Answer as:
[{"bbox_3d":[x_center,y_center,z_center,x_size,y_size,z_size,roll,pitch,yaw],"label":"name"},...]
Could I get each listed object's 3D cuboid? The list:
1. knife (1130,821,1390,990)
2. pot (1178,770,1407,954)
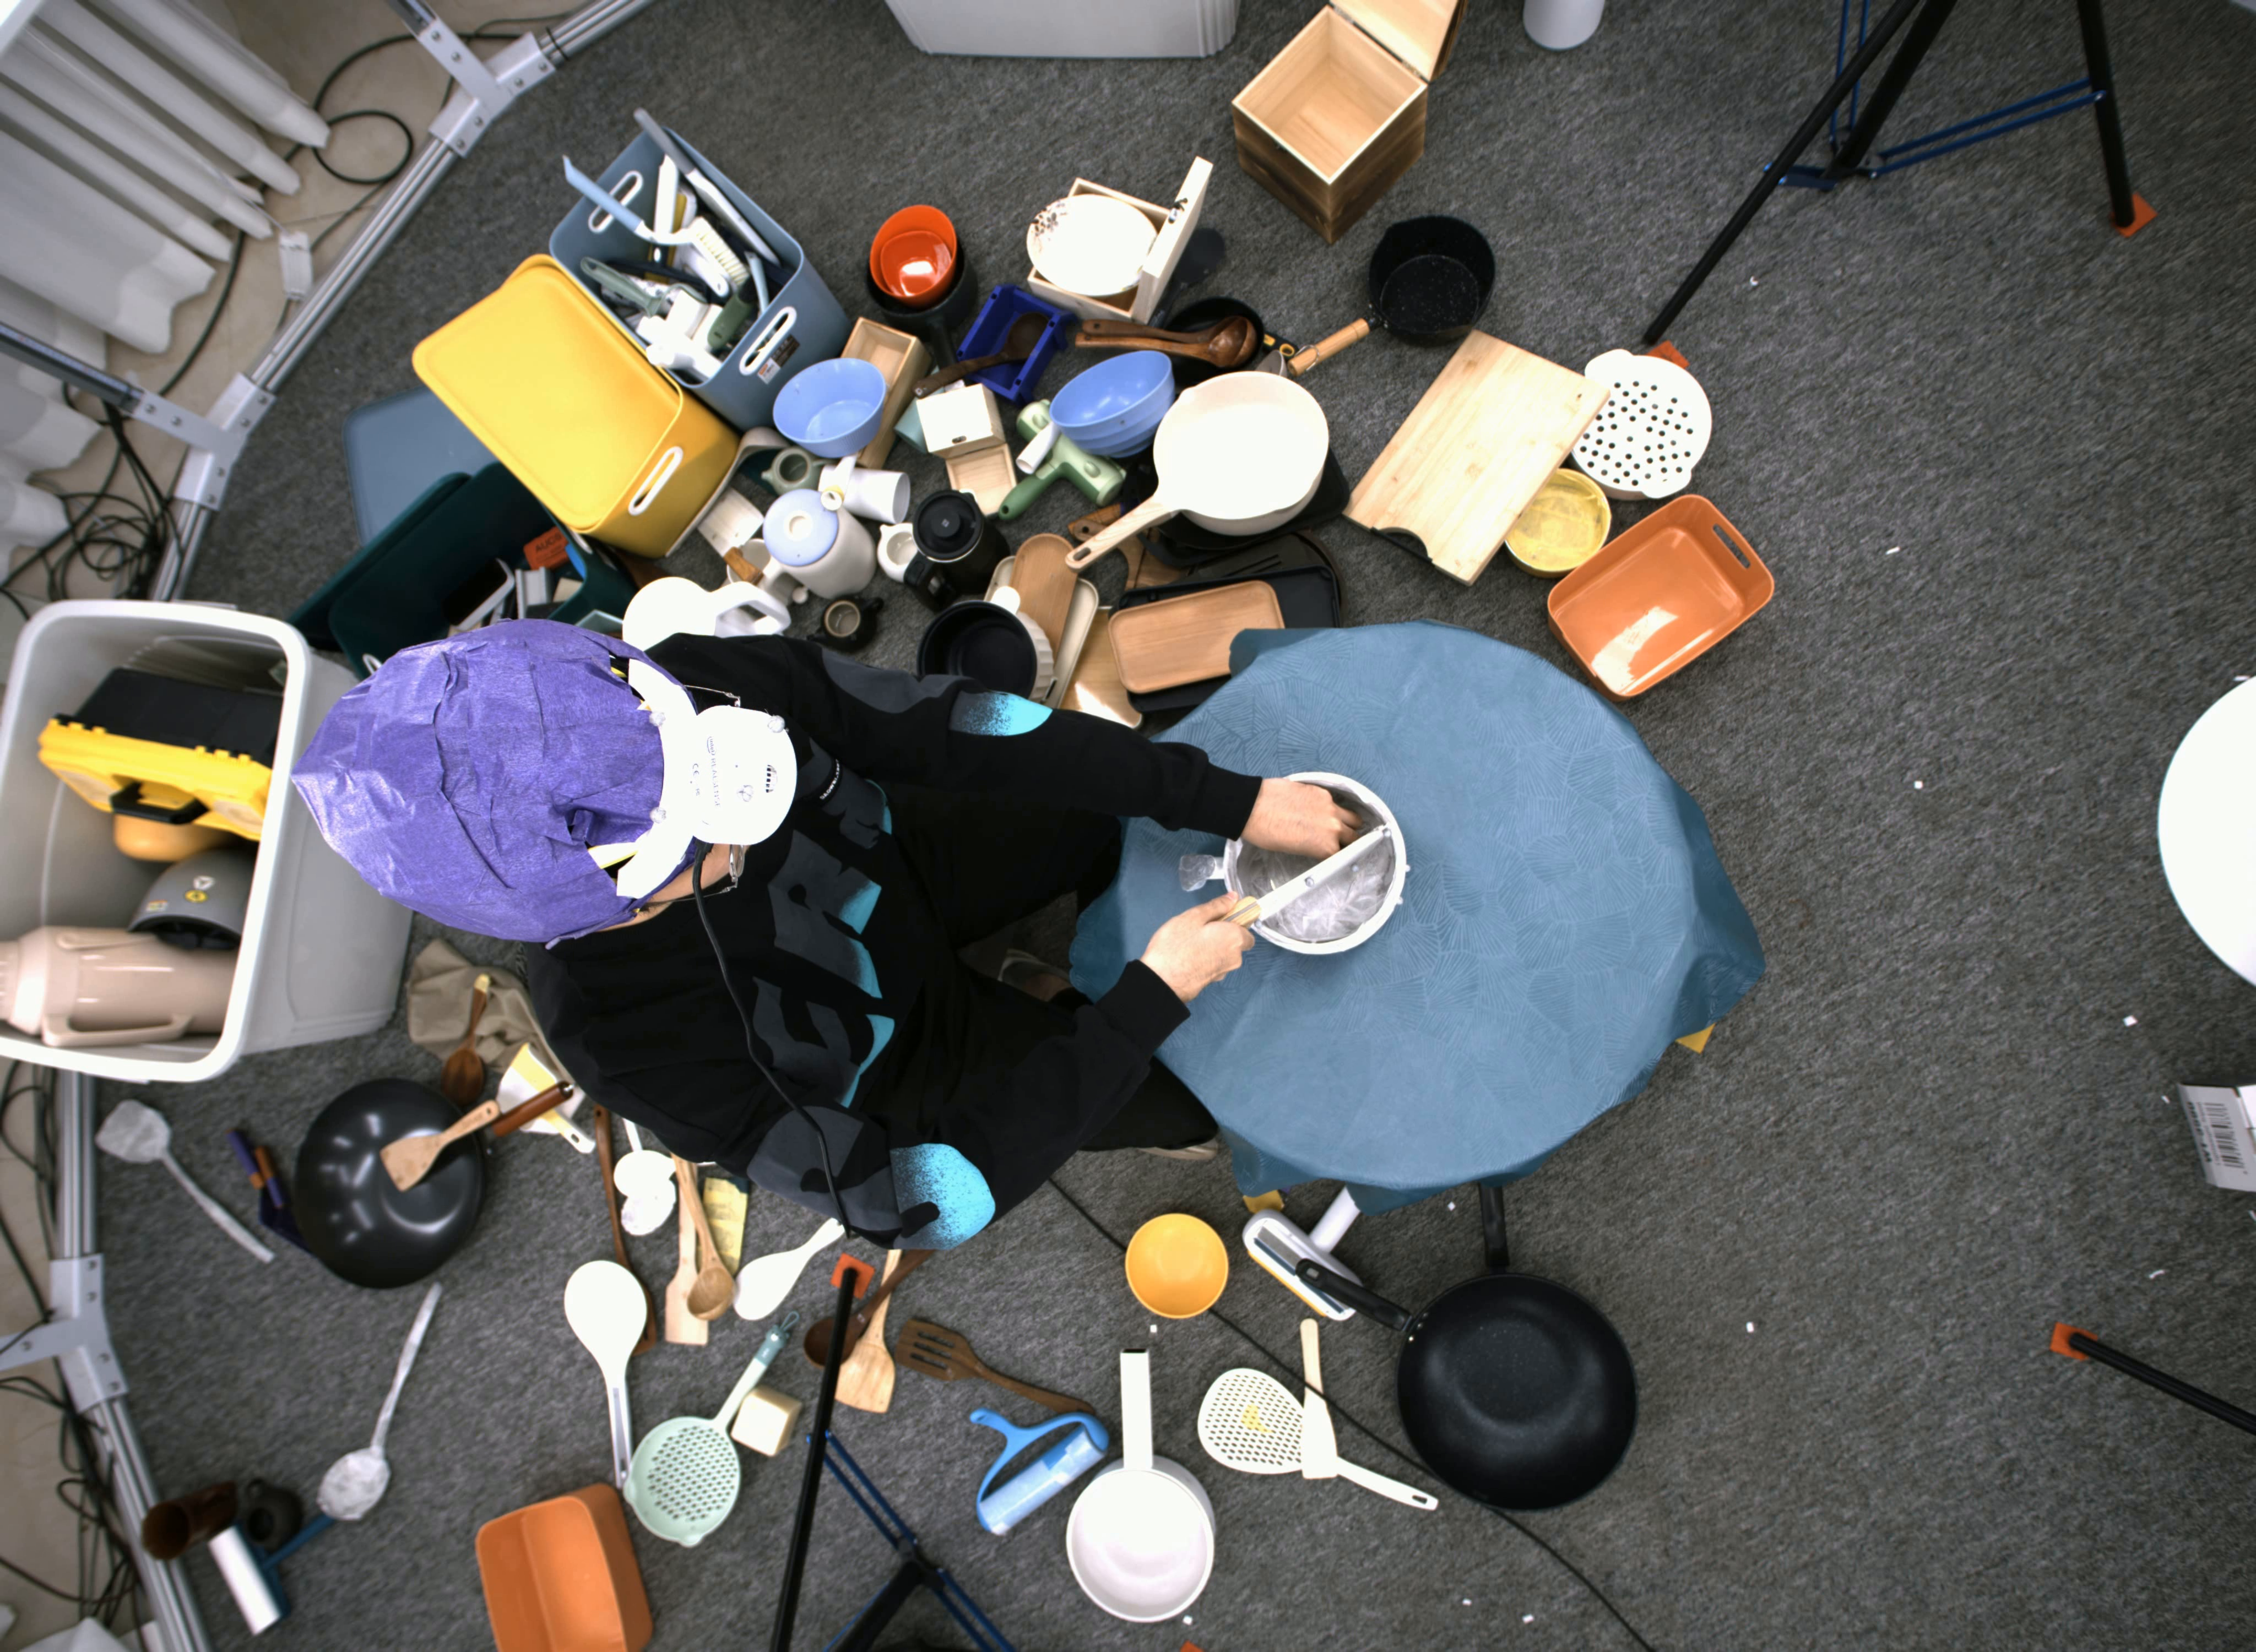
[{"bbox_3d":[0.129,0.072,1.298,0.311,0.116,0.021,-27,73,-28],"label":"knife"},{"bbox_3d":[0.164,0.042,1.411,0.234,0.137,0.177,-3,84,9],"label":"pot"}]
